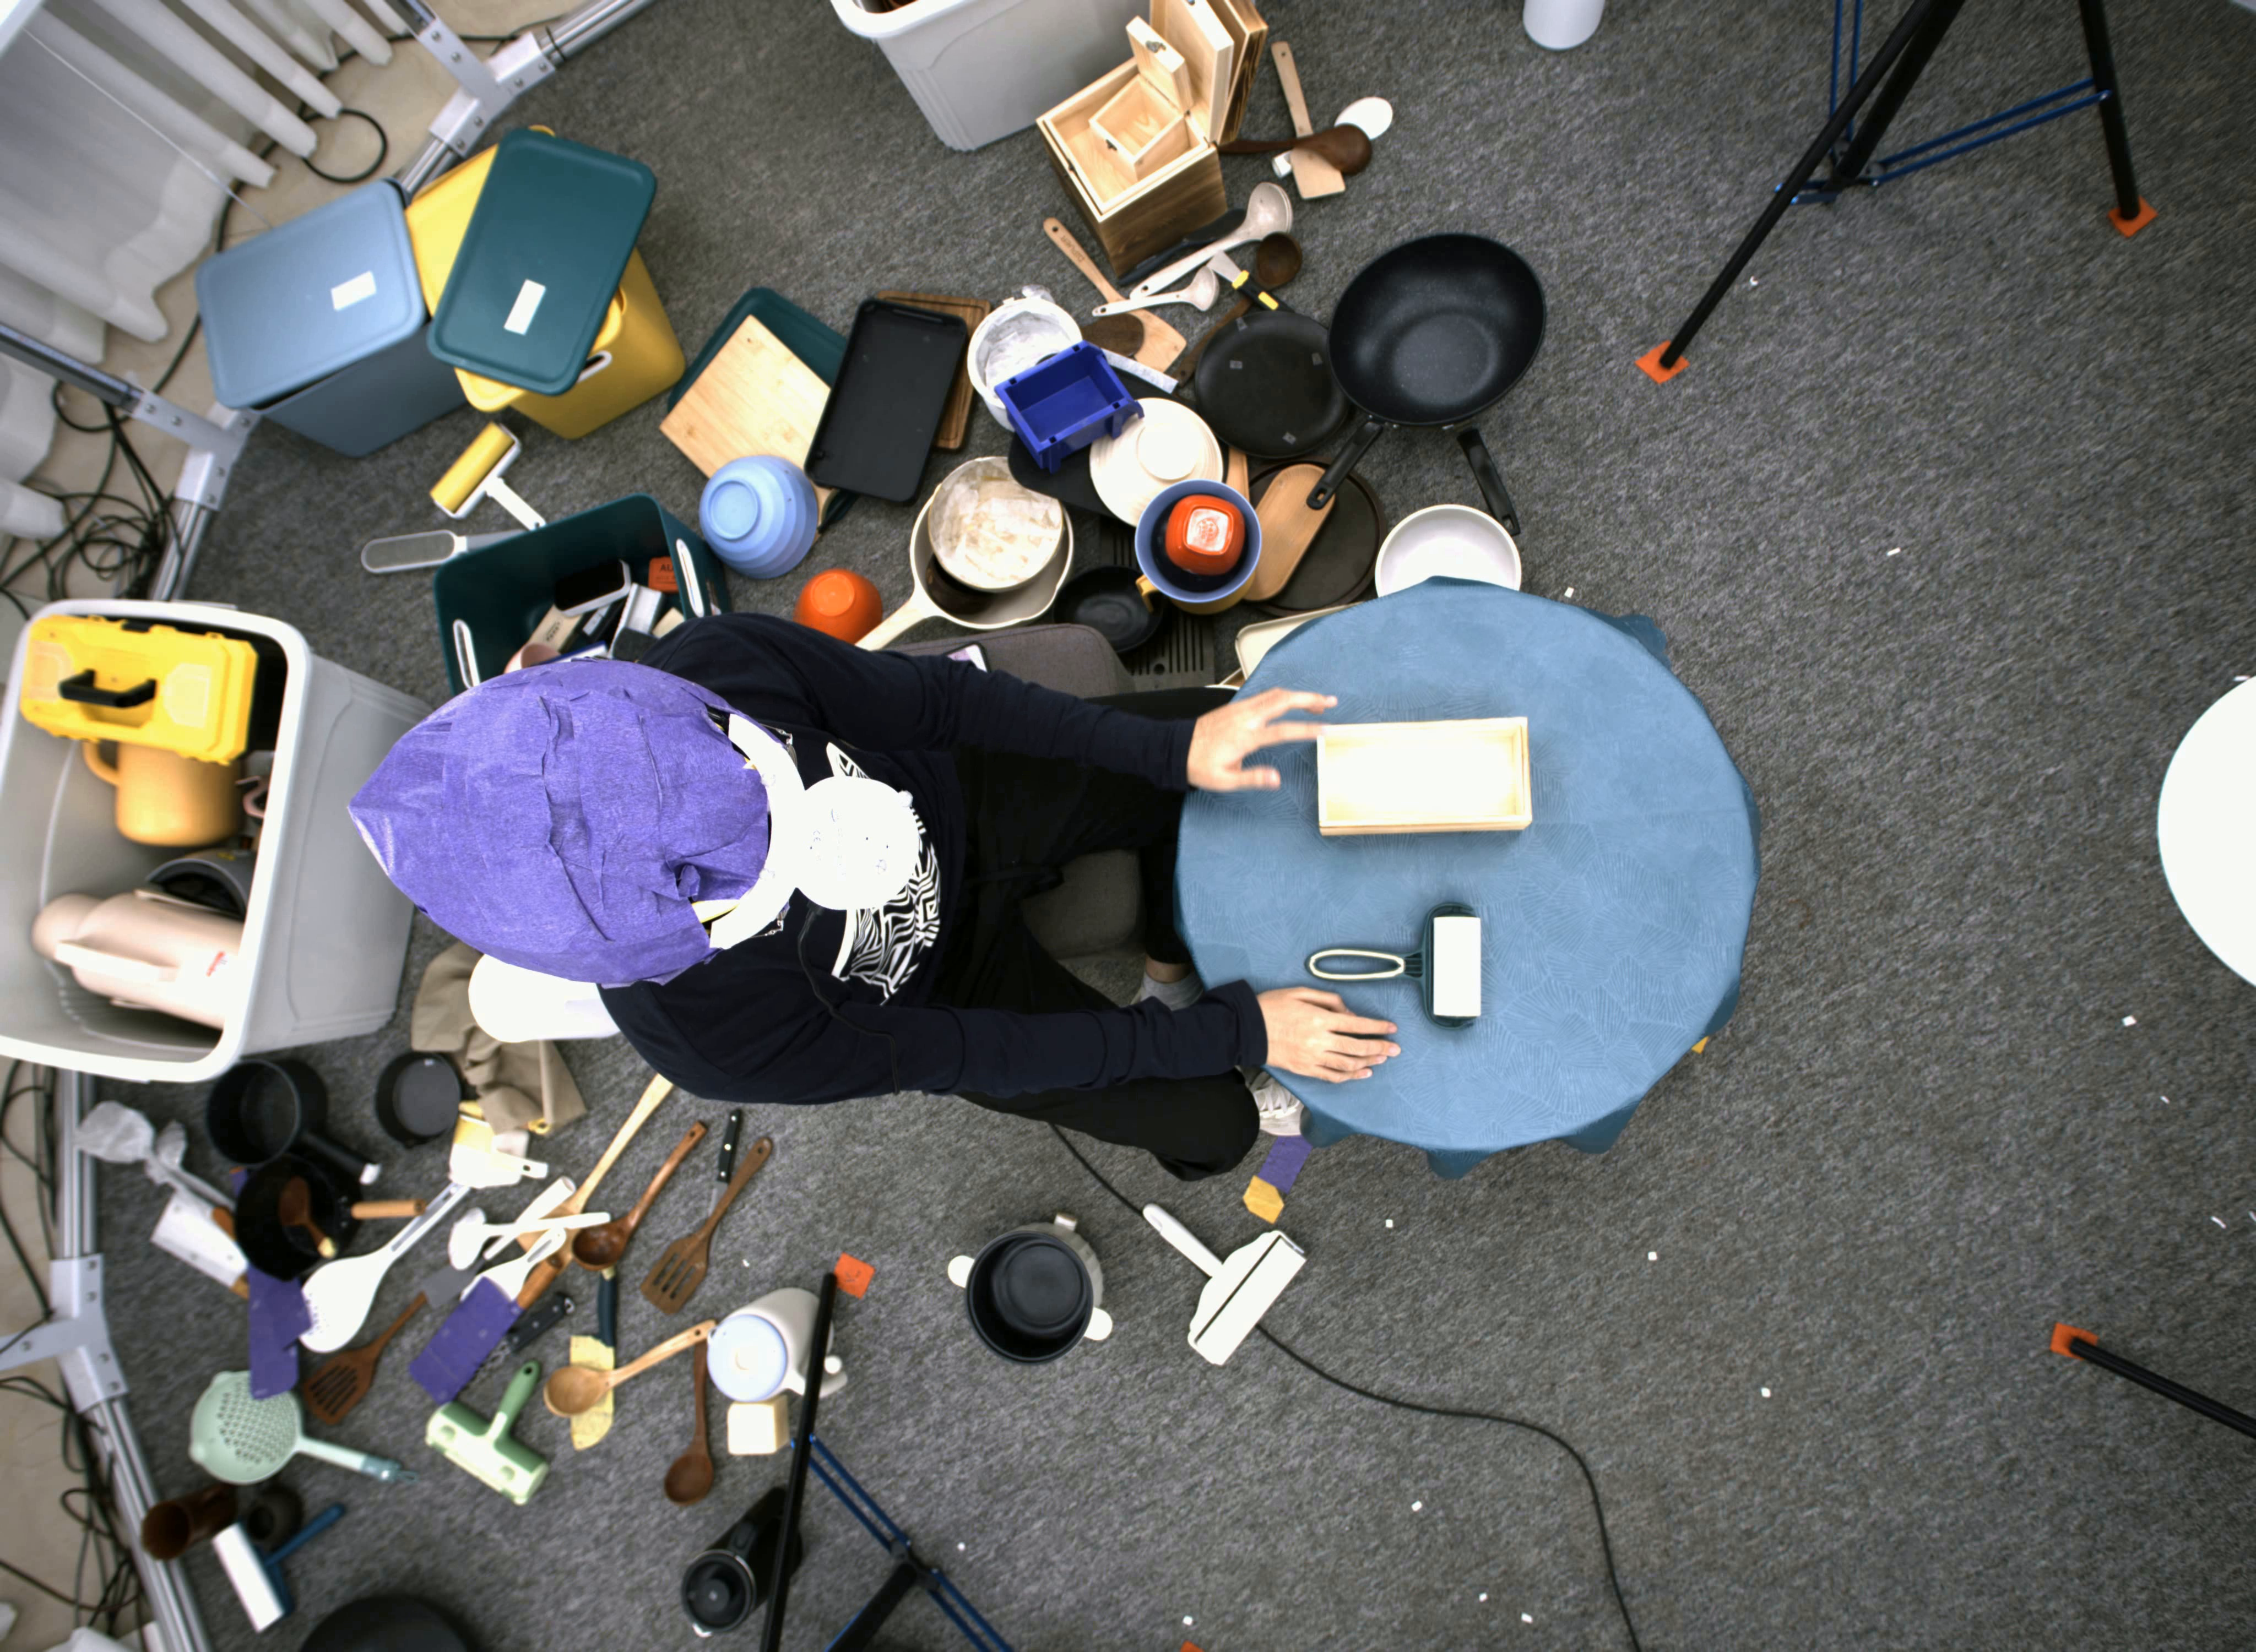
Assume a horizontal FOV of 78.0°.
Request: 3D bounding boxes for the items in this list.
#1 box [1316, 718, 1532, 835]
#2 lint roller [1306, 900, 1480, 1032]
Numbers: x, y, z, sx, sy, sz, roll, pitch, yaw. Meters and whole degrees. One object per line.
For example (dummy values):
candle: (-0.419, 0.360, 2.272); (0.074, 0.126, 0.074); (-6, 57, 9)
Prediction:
box: (0.304, -0.051, 1.420); (0.212, 0.080, 0.107); (-3, 86, 12)
lint roller: (0.273, 0.144, 1.435); (0.181, 0.048, 0.133); (-1, 86, 14)
